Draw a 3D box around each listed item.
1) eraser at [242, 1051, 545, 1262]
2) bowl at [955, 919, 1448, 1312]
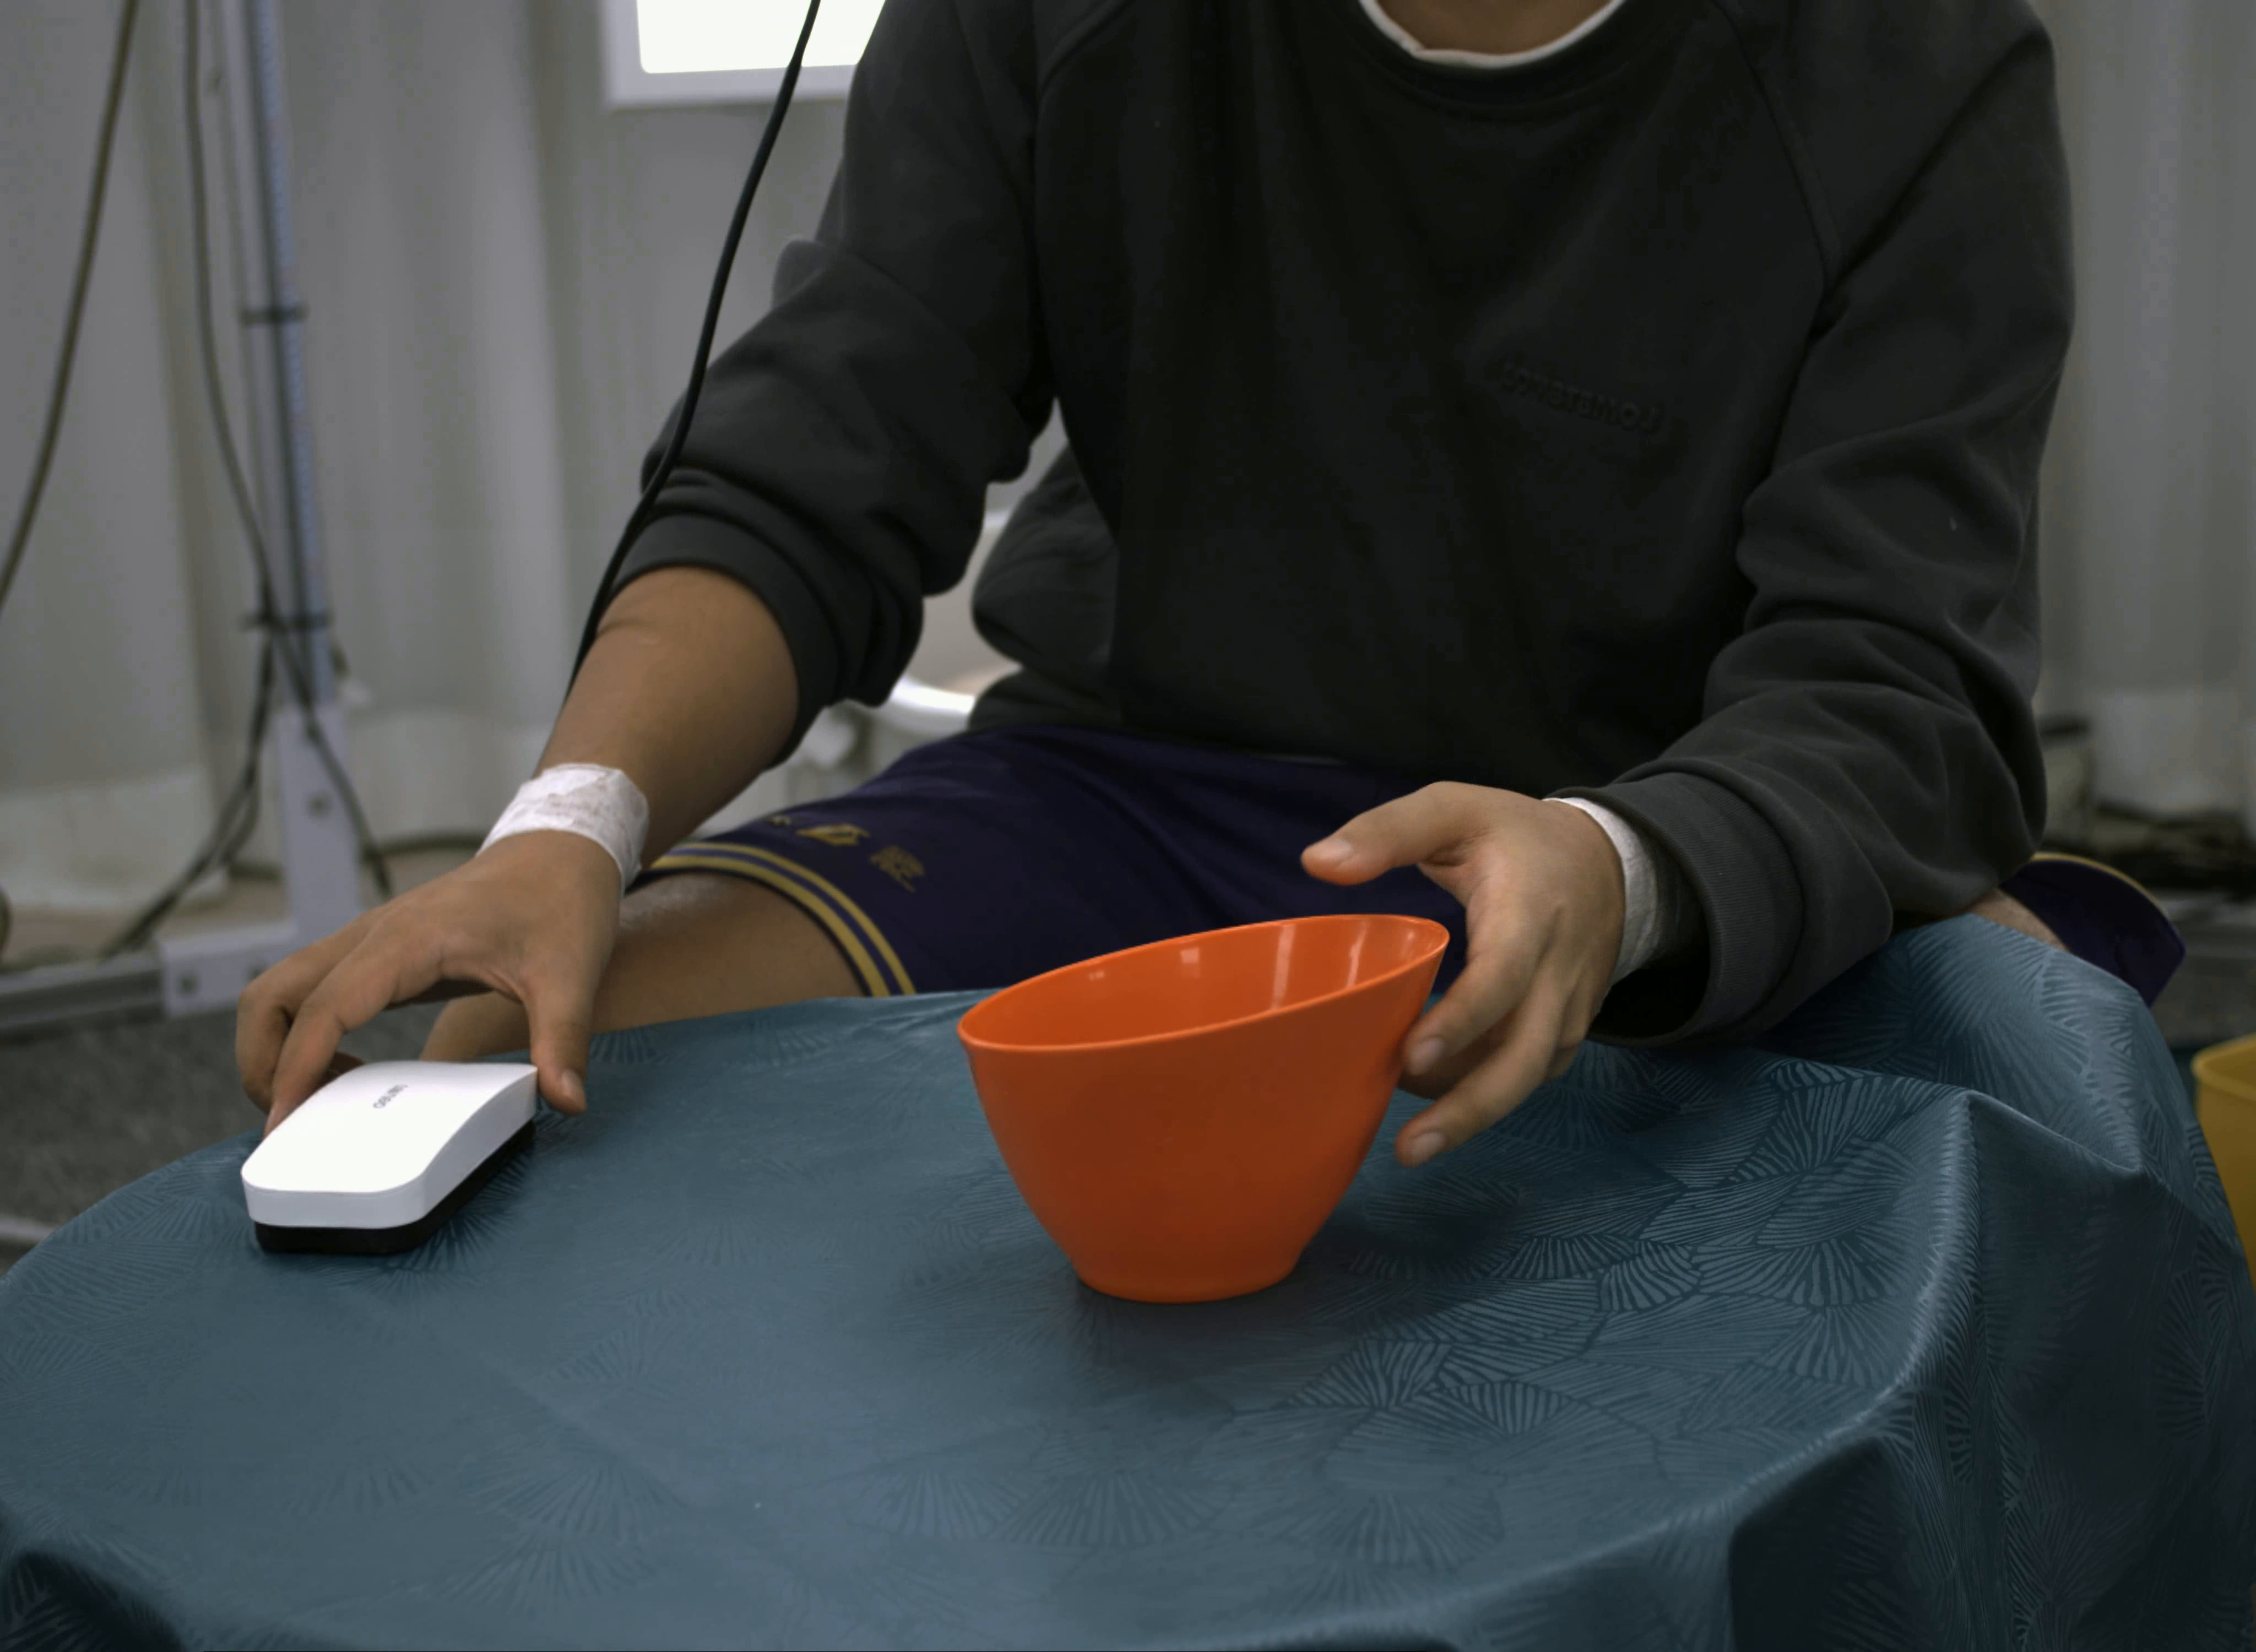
[{"bbox_3d":[-0.232,0.101,1.749,0.063,0.034,0.132,2,17,16],"label":"eraser"},{"bbox_3d":[0.024,0.086,1.626,0.147,0.104,0.149,-4,14,1],"label":"bowl"}]
